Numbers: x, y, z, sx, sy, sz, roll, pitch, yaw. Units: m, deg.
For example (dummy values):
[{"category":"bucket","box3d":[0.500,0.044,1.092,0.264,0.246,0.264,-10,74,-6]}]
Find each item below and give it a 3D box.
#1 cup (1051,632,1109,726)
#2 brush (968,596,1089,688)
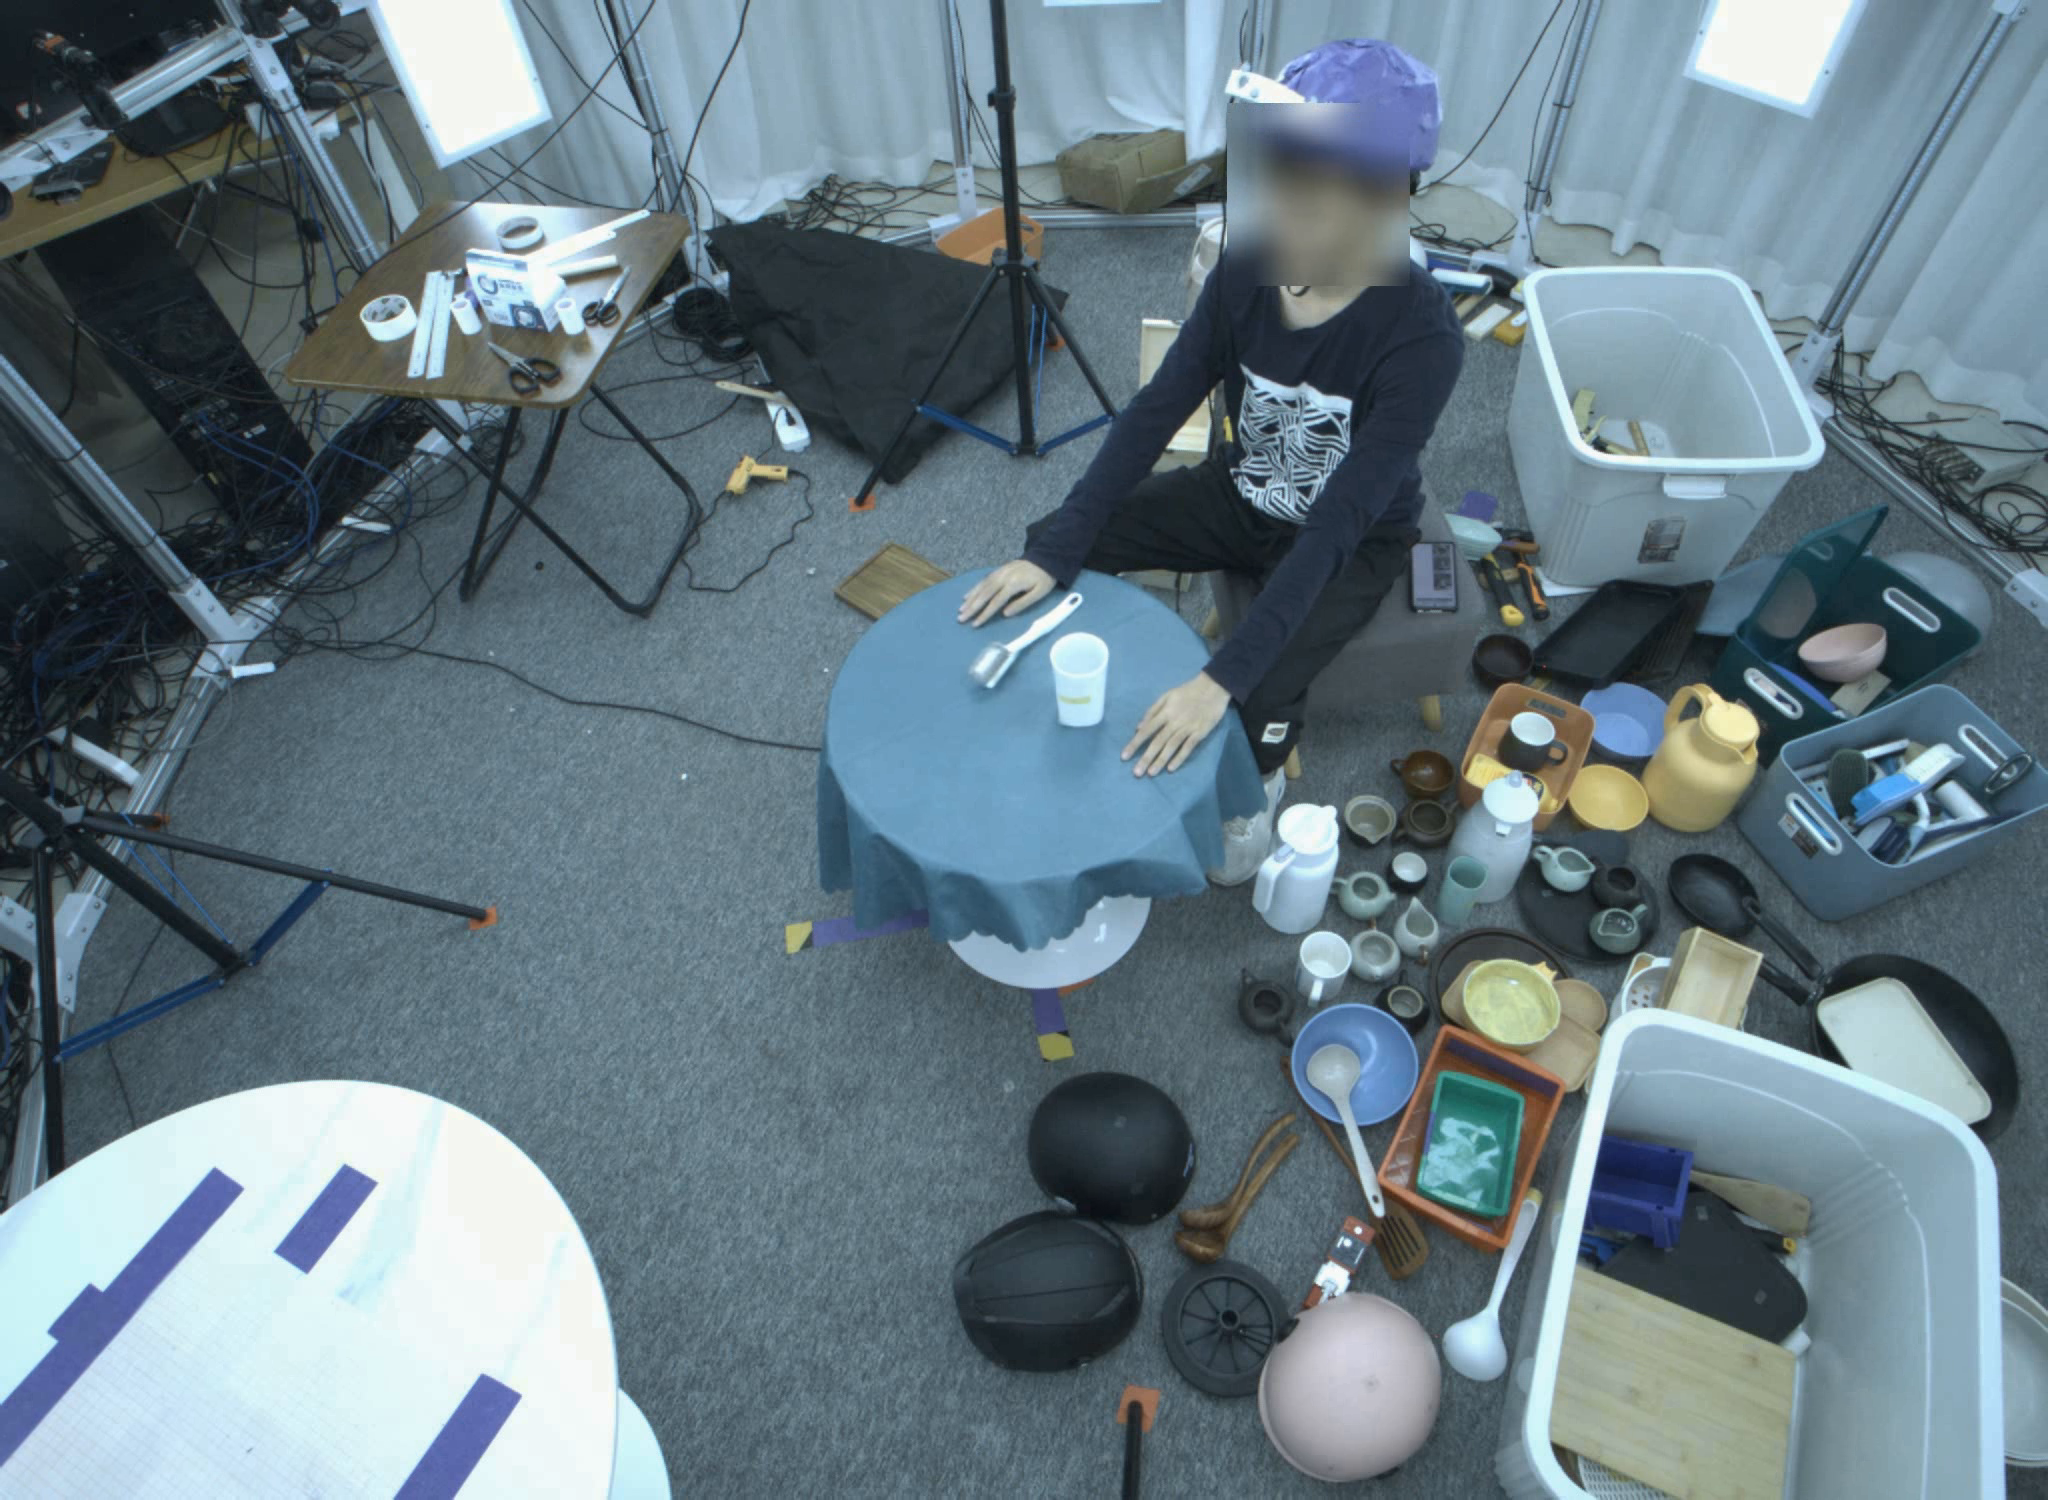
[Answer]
[{"category":"cup","box3d":[0.081,-0.098,1.771,0.081,0.127,0.081,-1,54,2]},{"category":"brush","box3d":[0.010,-0.179,1.879,0.034,0.051,0.245,35,63,30]}]
